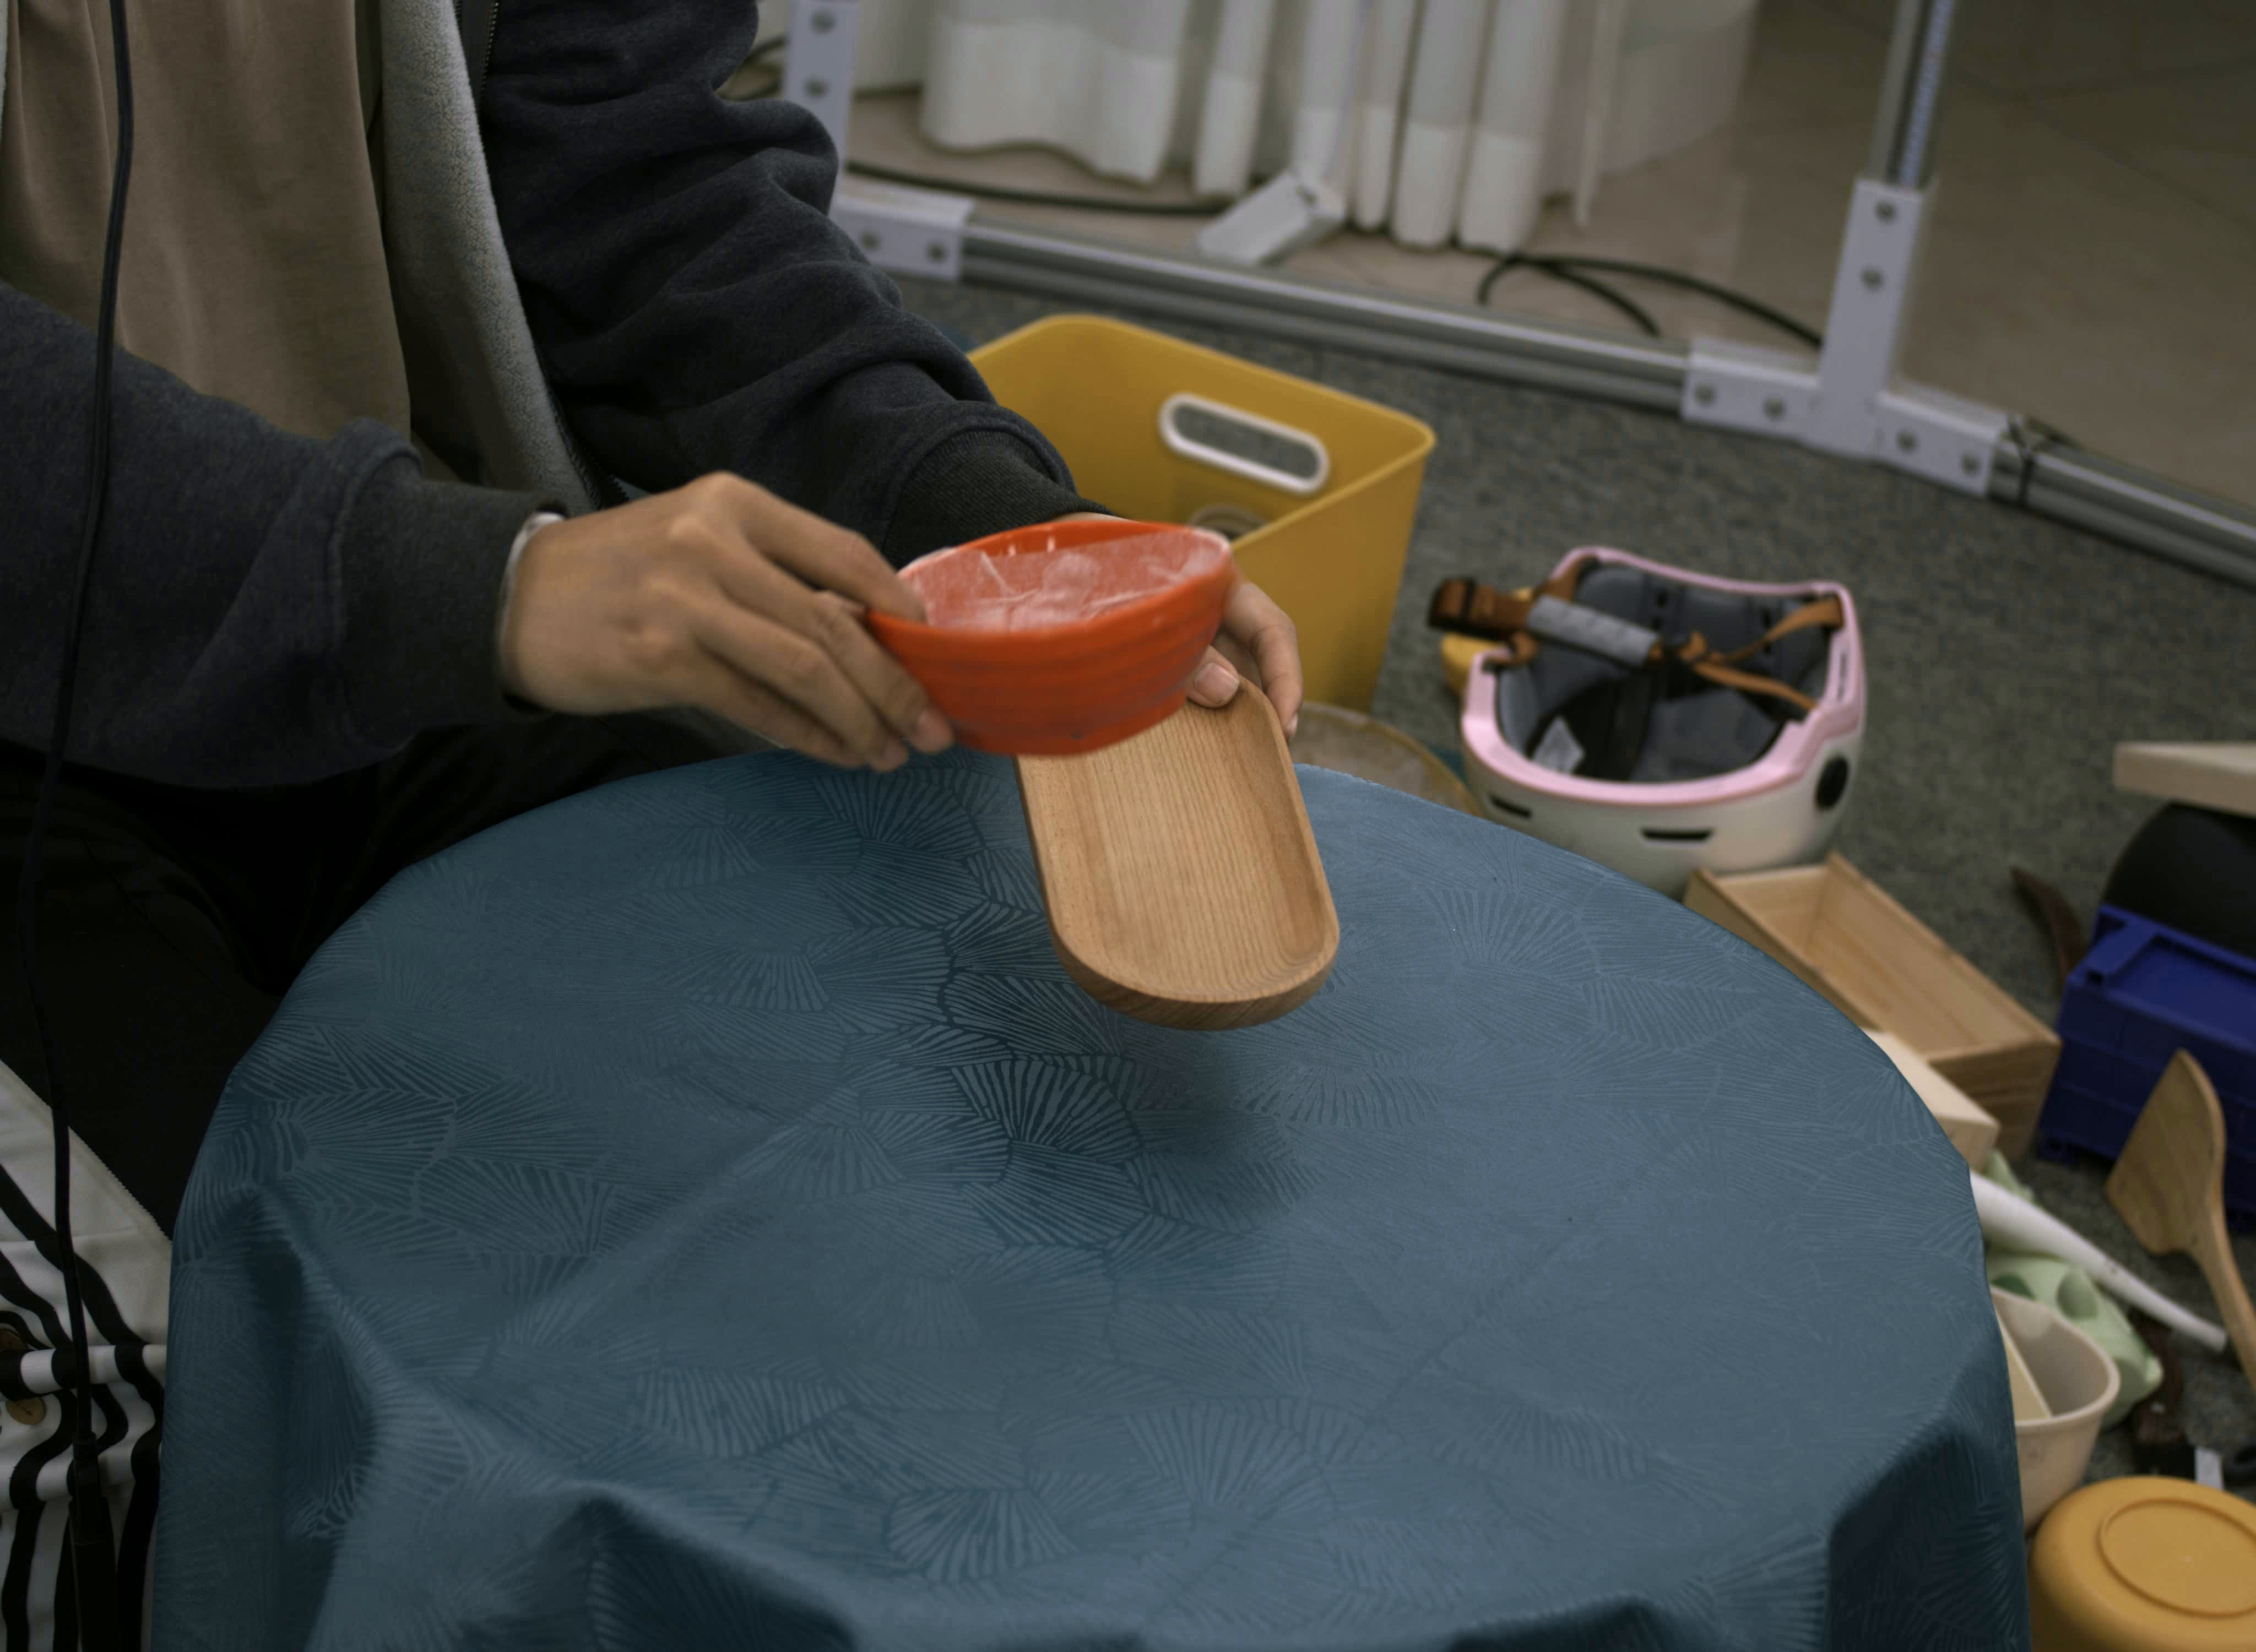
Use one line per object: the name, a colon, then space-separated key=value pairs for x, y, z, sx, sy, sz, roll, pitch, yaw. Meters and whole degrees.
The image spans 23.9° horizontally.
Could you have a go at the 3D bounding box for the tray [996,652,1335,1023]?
tray: x=0.011 y=-0.001 z=1.887 sx=0.101 sy=0.020 sz=0.233 roll=0 pitch=32 yaw=-10

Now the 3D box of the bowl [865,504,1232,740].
bowl: x=-0.022 y=-0.063 z=1.699 sx=0.118 sy=0.051 sz=0.119 roll=-9 pitch=18 yaw=3
